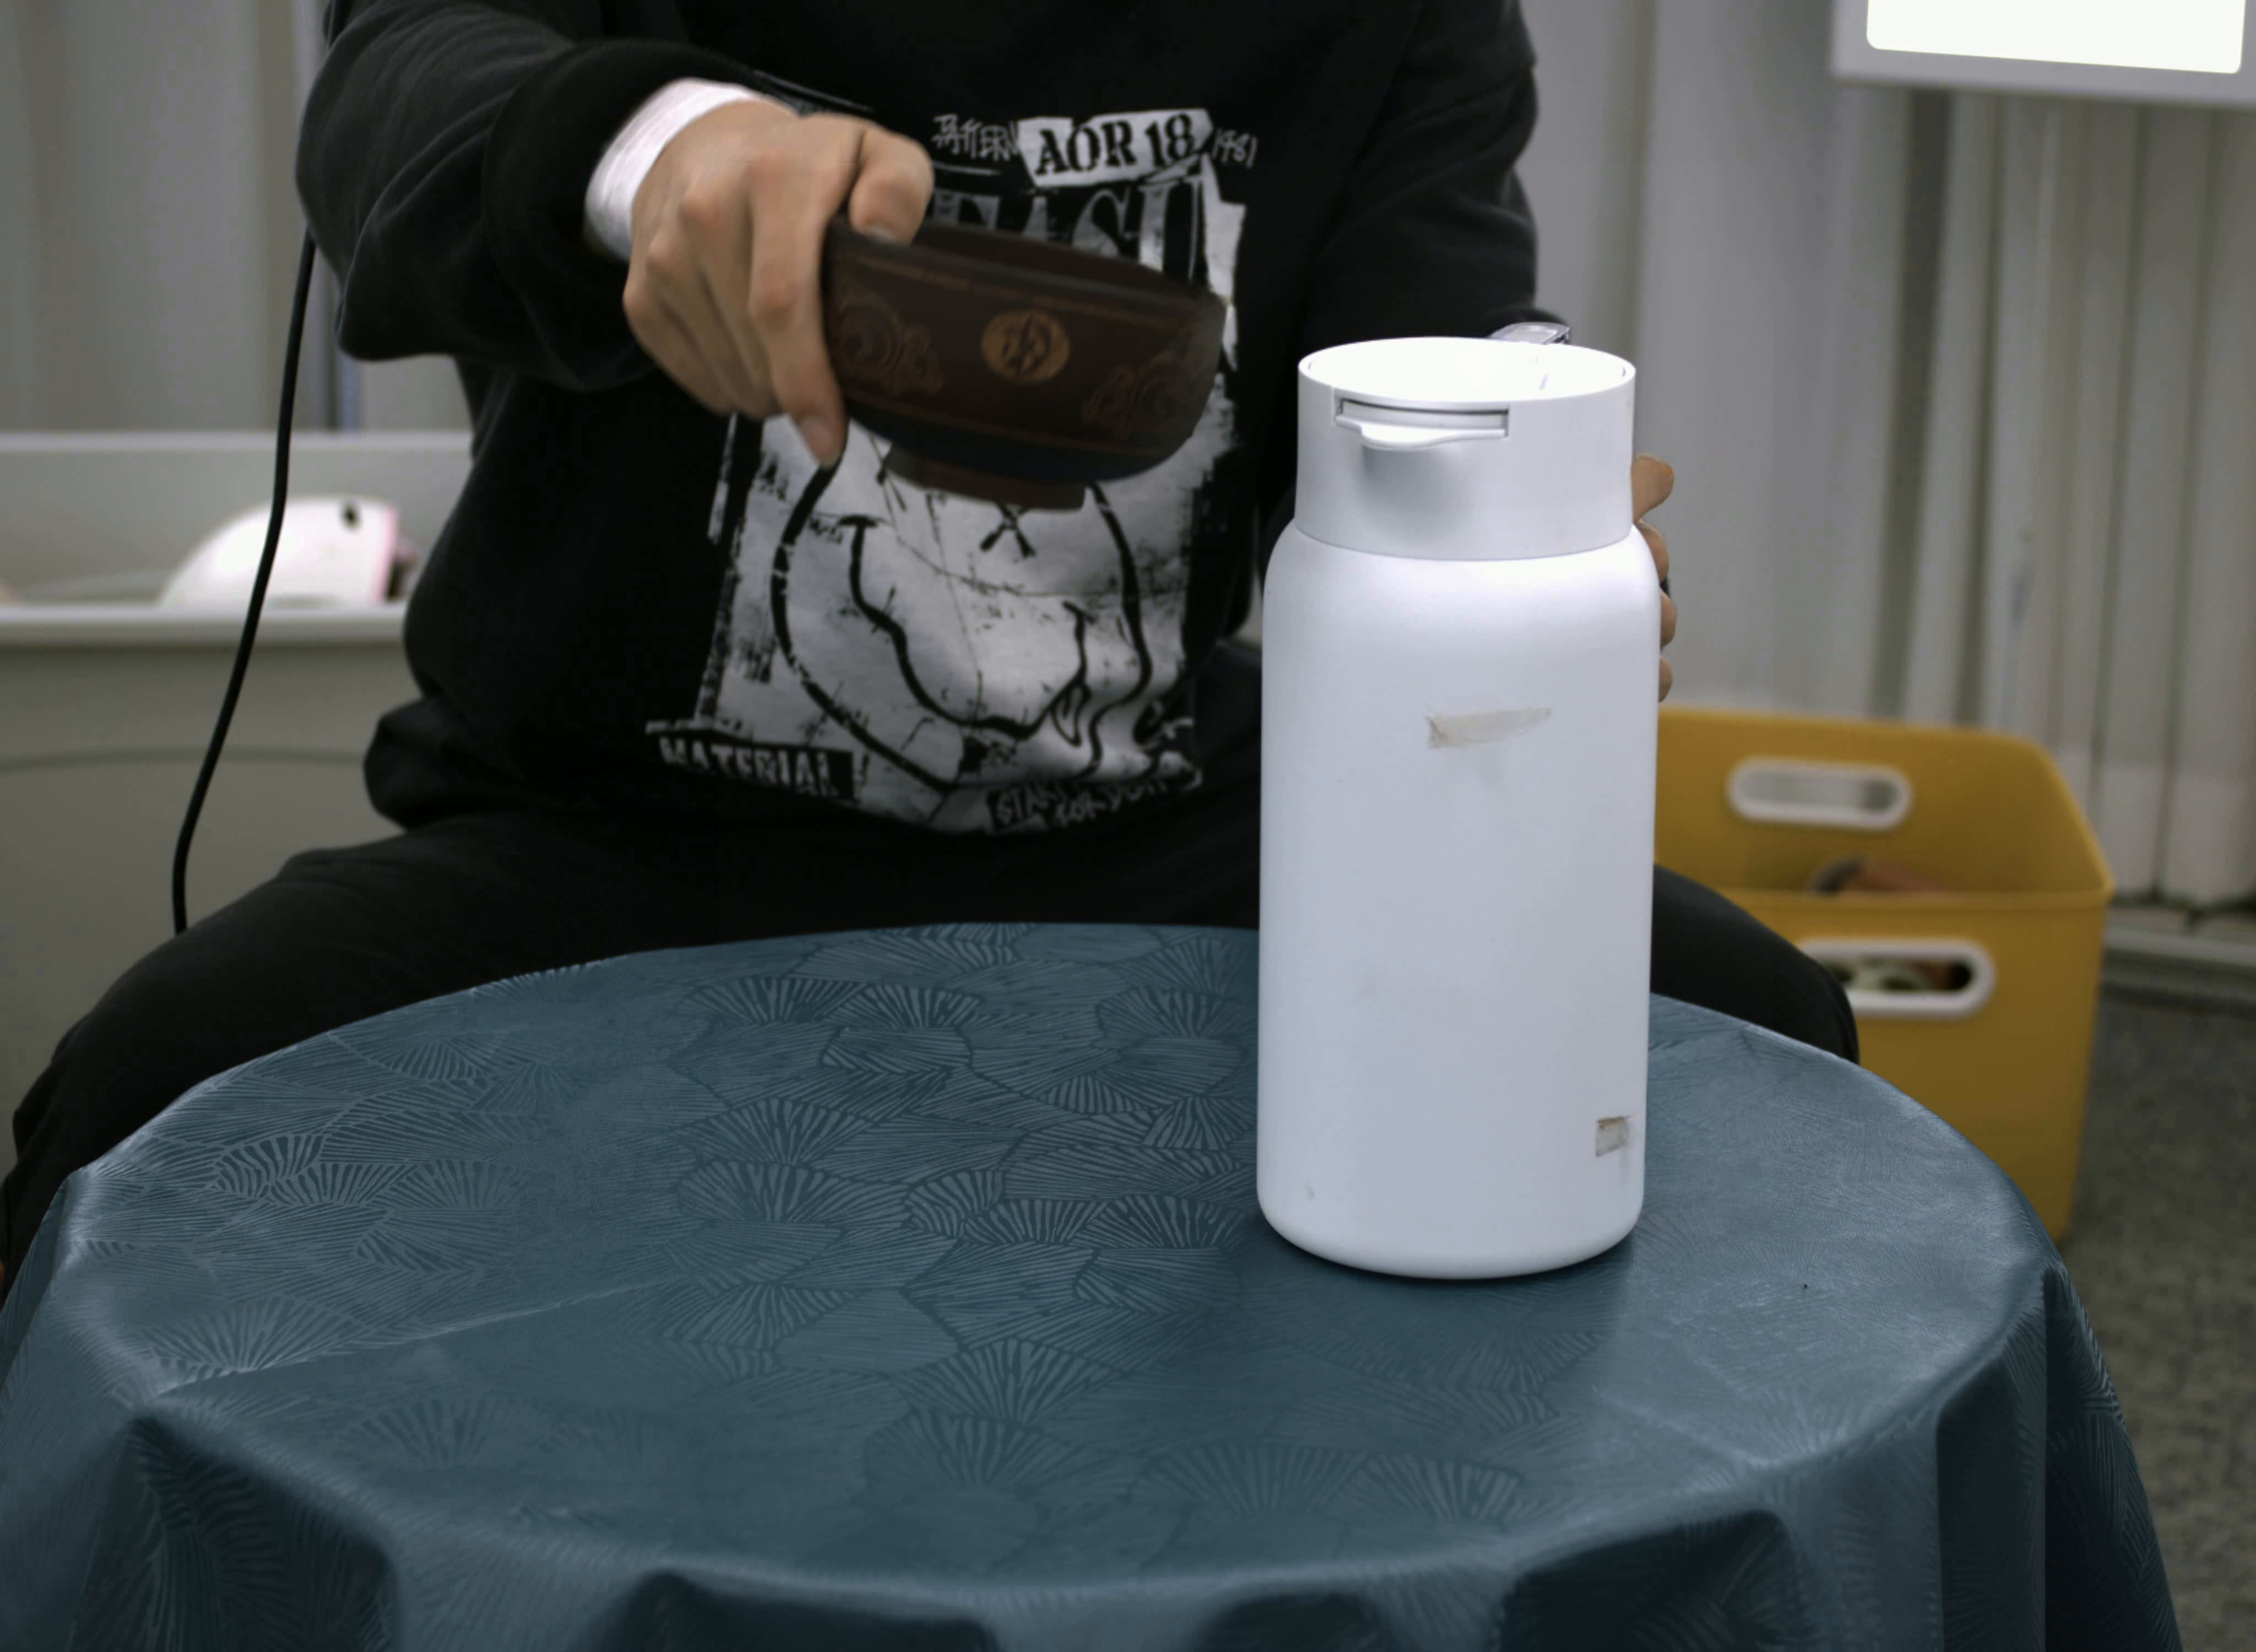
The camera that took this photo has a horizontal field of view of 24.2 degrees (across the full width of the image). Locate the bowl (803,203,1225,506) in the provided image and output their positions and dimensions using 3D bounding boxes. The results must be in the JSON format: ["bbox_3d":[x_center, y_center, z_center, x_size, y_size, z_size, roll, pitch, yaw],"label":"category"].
[{"bbox_3d":[-0.035,-0.130,1.484,0.118,0.070,0.117,11,11,-2],"label":"bowl"}]

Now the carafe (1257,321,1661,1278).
[{"bbox_3d":[0.103,-0.012,1.574,0.122,0.271,0.173,4,17,20],"label":"carafe"}]
